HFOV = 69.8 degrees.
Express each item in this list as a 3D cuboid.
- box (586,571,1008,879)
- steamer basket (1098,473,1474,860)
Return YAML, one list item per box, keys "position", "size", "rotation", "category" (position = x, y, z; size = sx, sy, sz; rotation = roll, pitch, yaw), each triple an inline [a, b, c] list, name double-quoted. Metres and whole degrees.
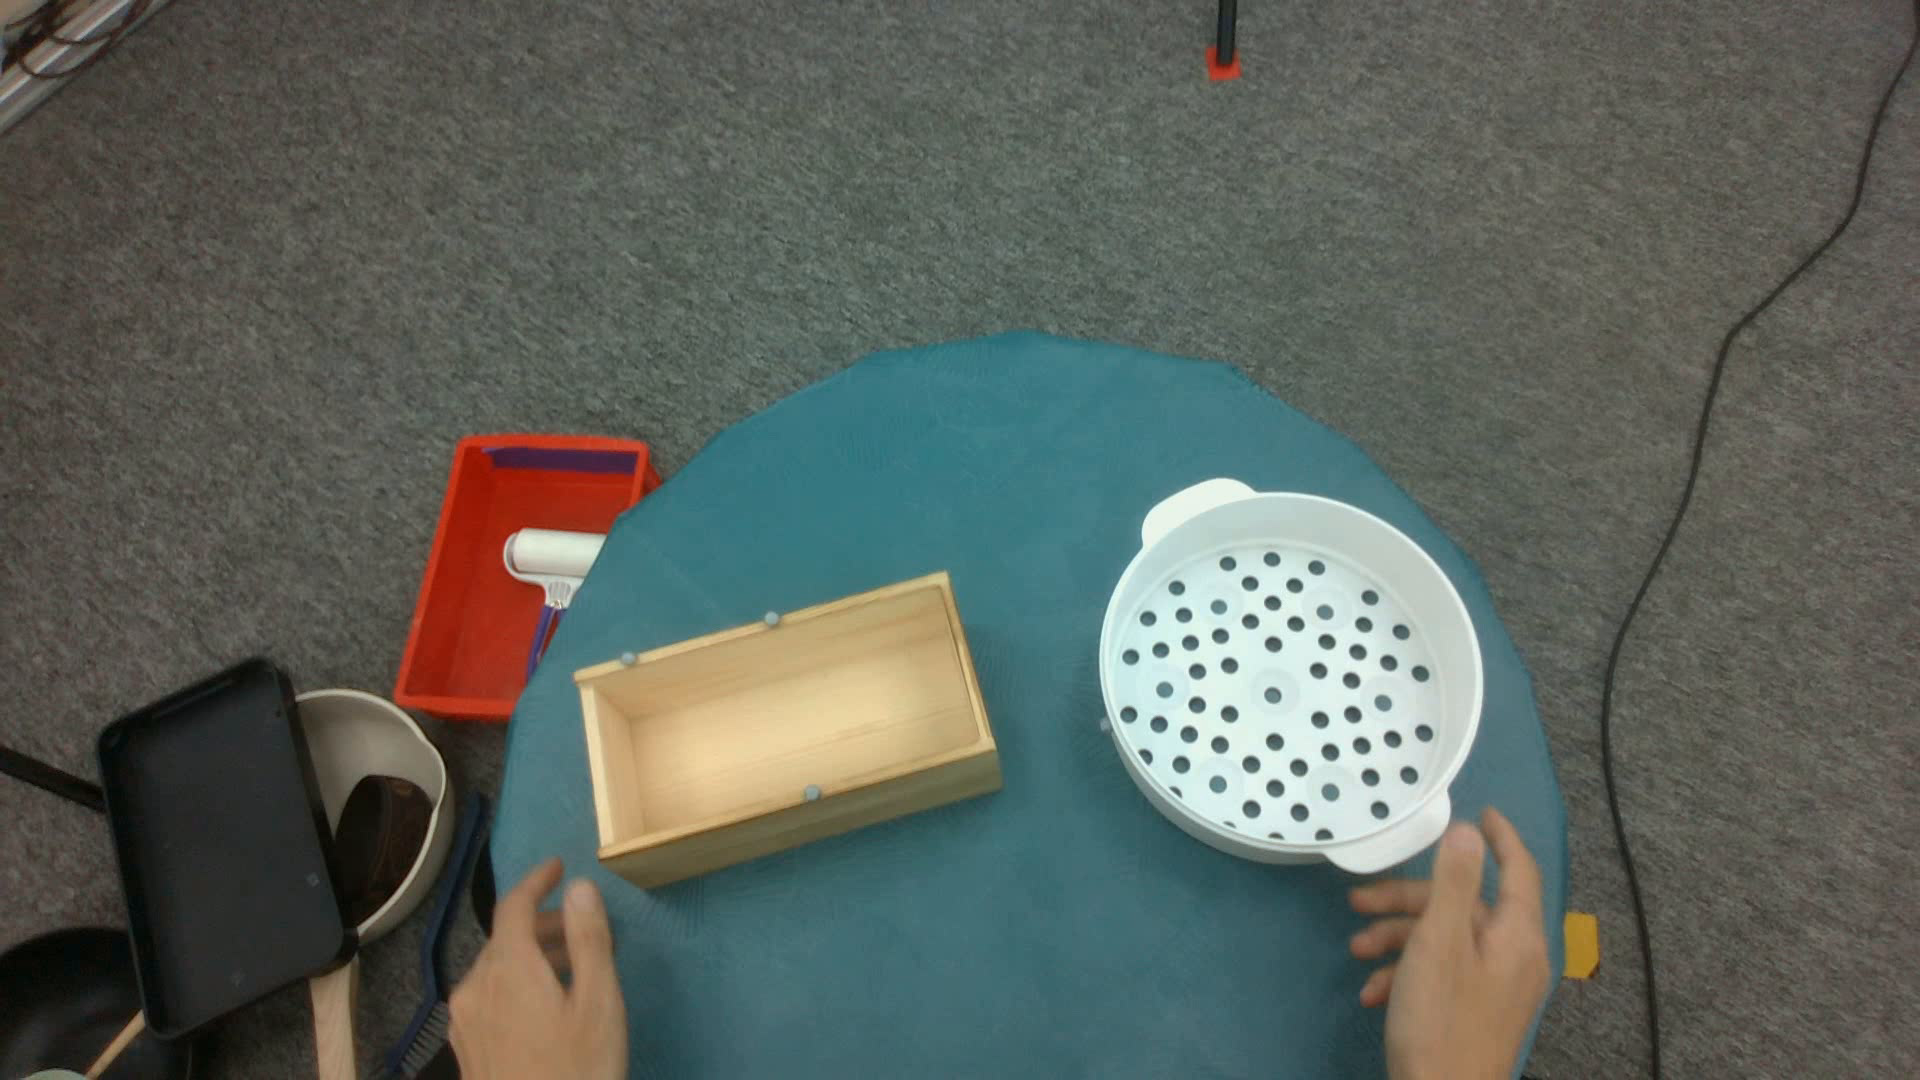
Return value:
- position: [-0.090, 0.106, 0.778]
  size: [0.211, 0.080, 0.108]
  rotation: [-16, 66, -2]
  category: "box"
- position: [0.179, 0.073, 0.776]
  size: [0.202, 0.069, 0.231]
  rotation: [-25, 67, -5]
  category: "steamer basket"
